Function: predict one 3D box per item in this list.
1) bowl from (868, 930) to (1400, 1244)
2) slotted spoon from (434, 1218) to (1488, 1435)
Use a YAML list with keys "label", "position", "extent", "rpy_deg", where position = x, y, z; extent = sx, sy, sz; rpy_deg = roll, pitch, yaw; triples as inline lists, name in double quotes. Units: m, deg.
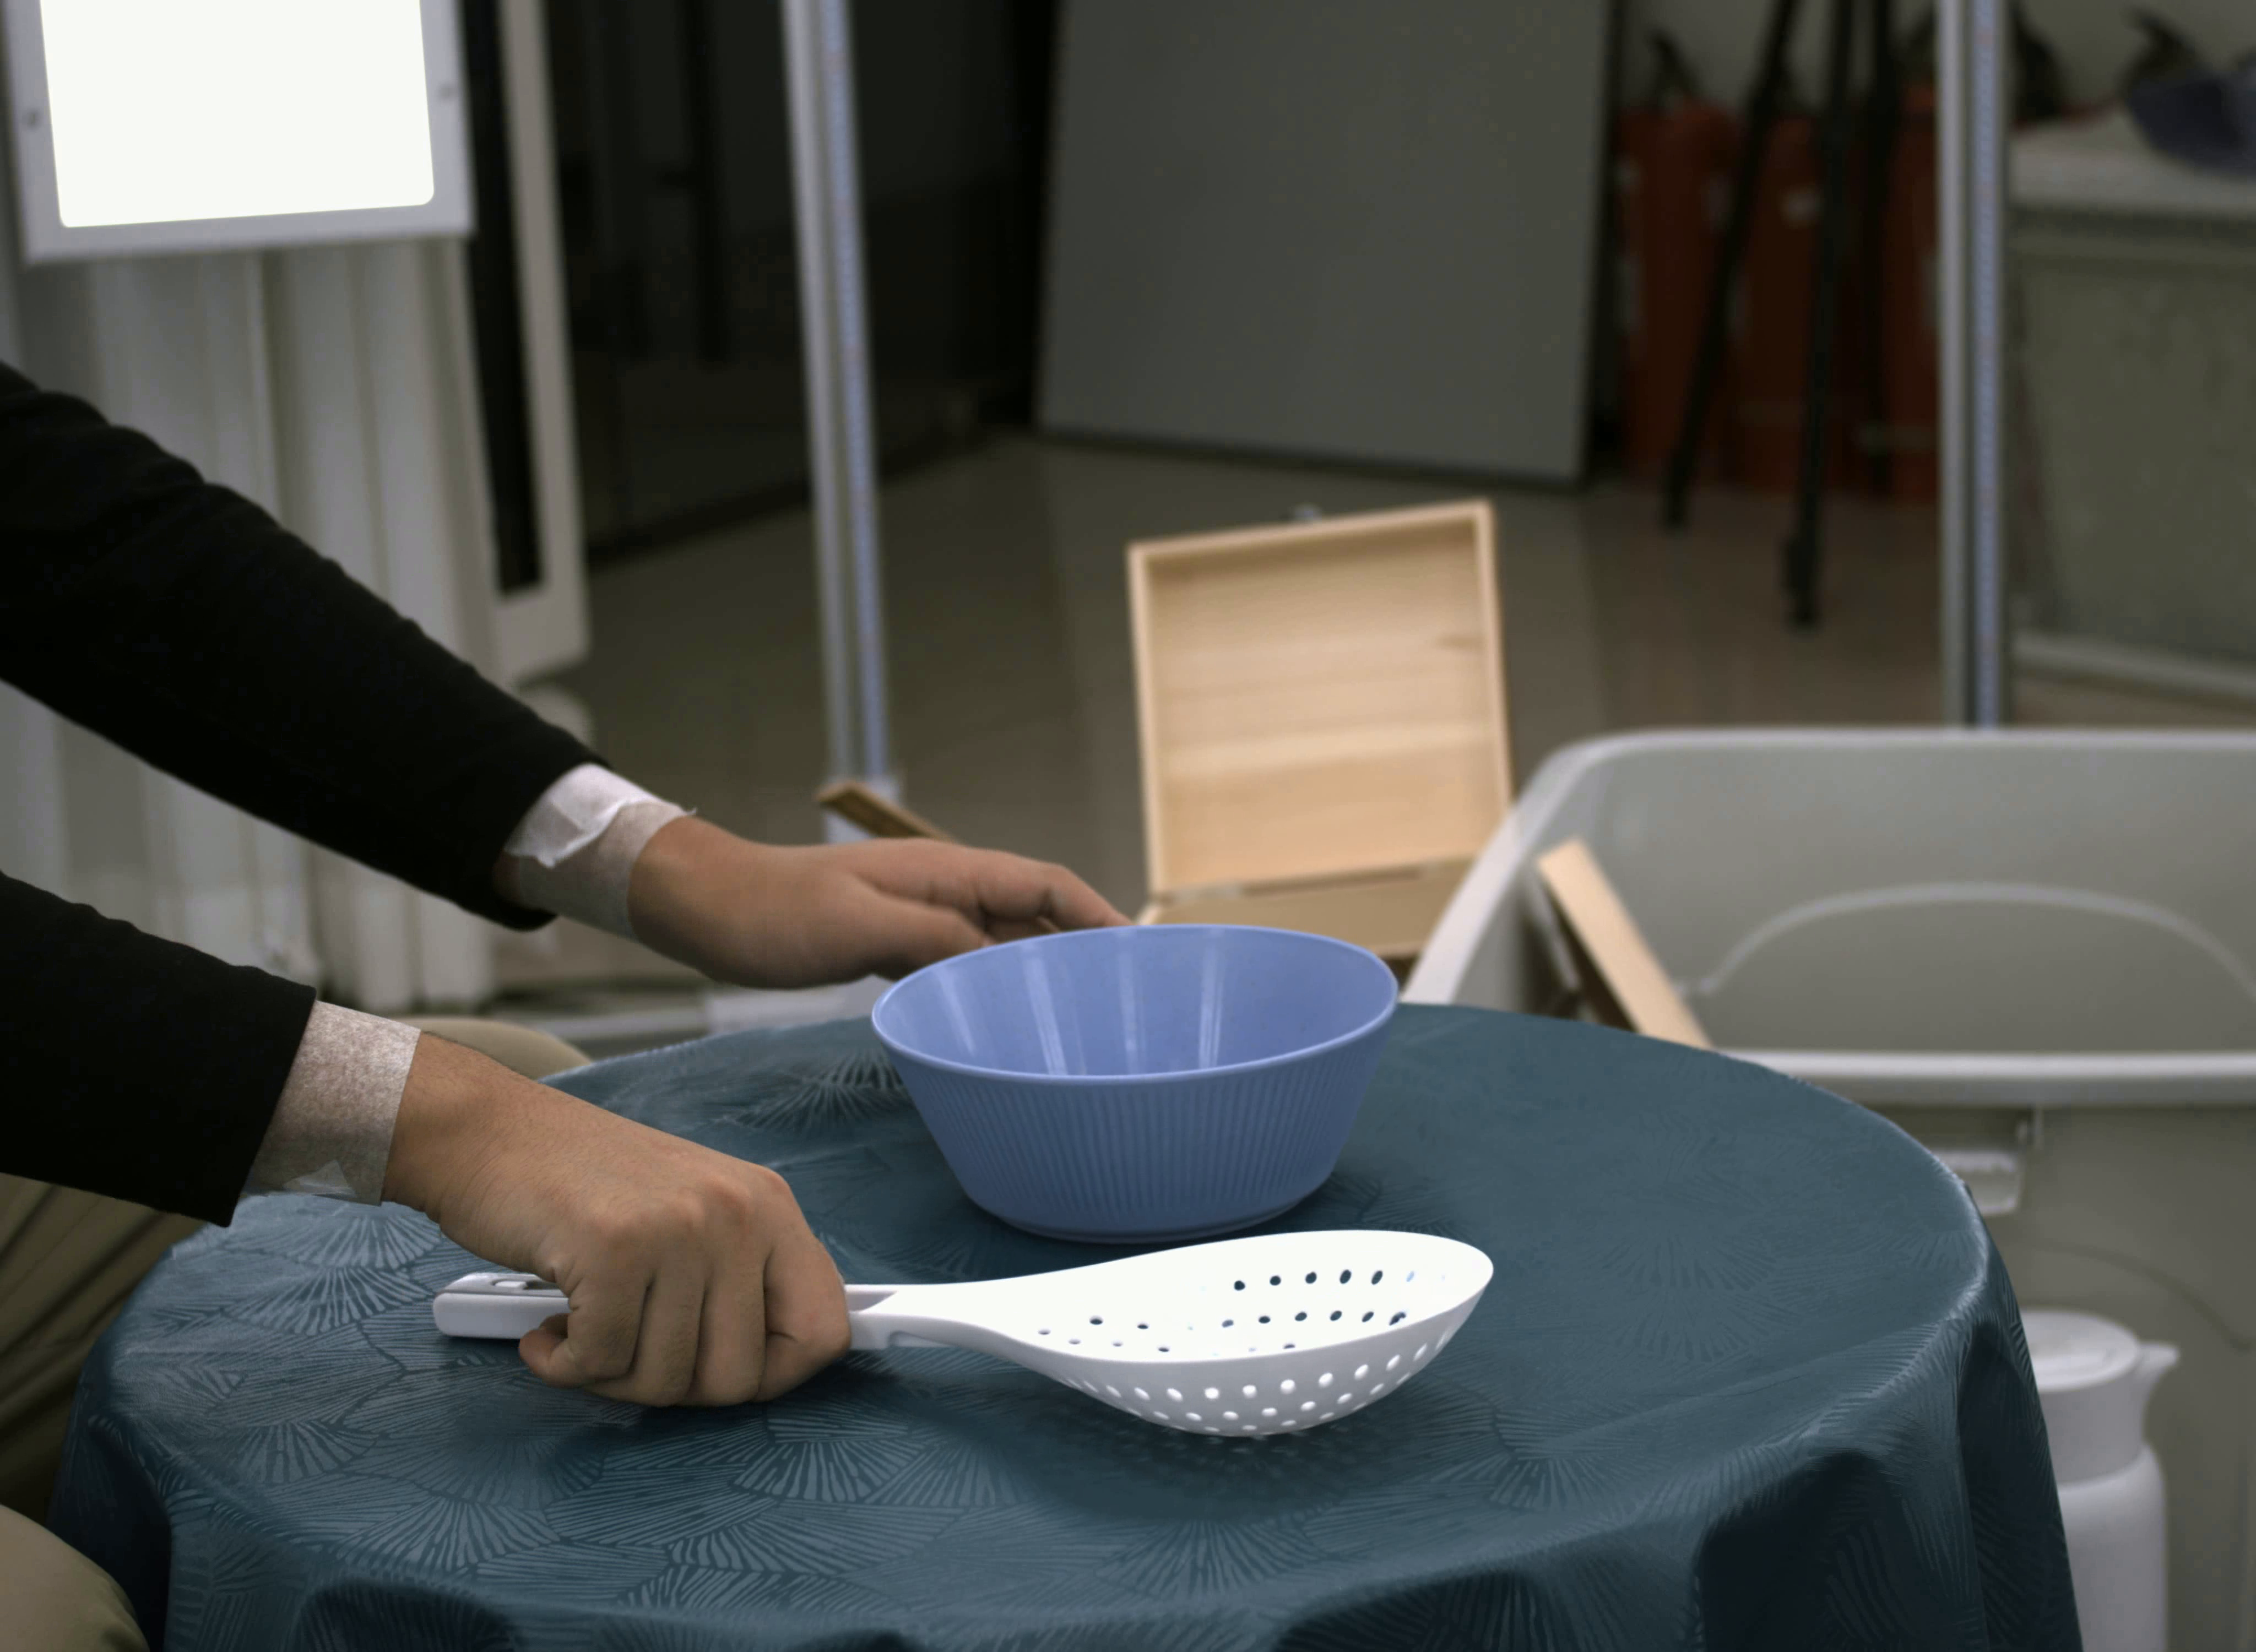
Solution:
- label: "bowl"
  position: [0.004, 0.087, 1.760]
  extent: [0.174, 0.071, 0.176]
  rpy_deg: [-5, 13, 0]
- label: "slotted spoon"
  position: [-0.057, 0.145, 1.594]
  extent: [0.350, 0.046, 0.134]
  rpy_deg: [2, 14, 28]
